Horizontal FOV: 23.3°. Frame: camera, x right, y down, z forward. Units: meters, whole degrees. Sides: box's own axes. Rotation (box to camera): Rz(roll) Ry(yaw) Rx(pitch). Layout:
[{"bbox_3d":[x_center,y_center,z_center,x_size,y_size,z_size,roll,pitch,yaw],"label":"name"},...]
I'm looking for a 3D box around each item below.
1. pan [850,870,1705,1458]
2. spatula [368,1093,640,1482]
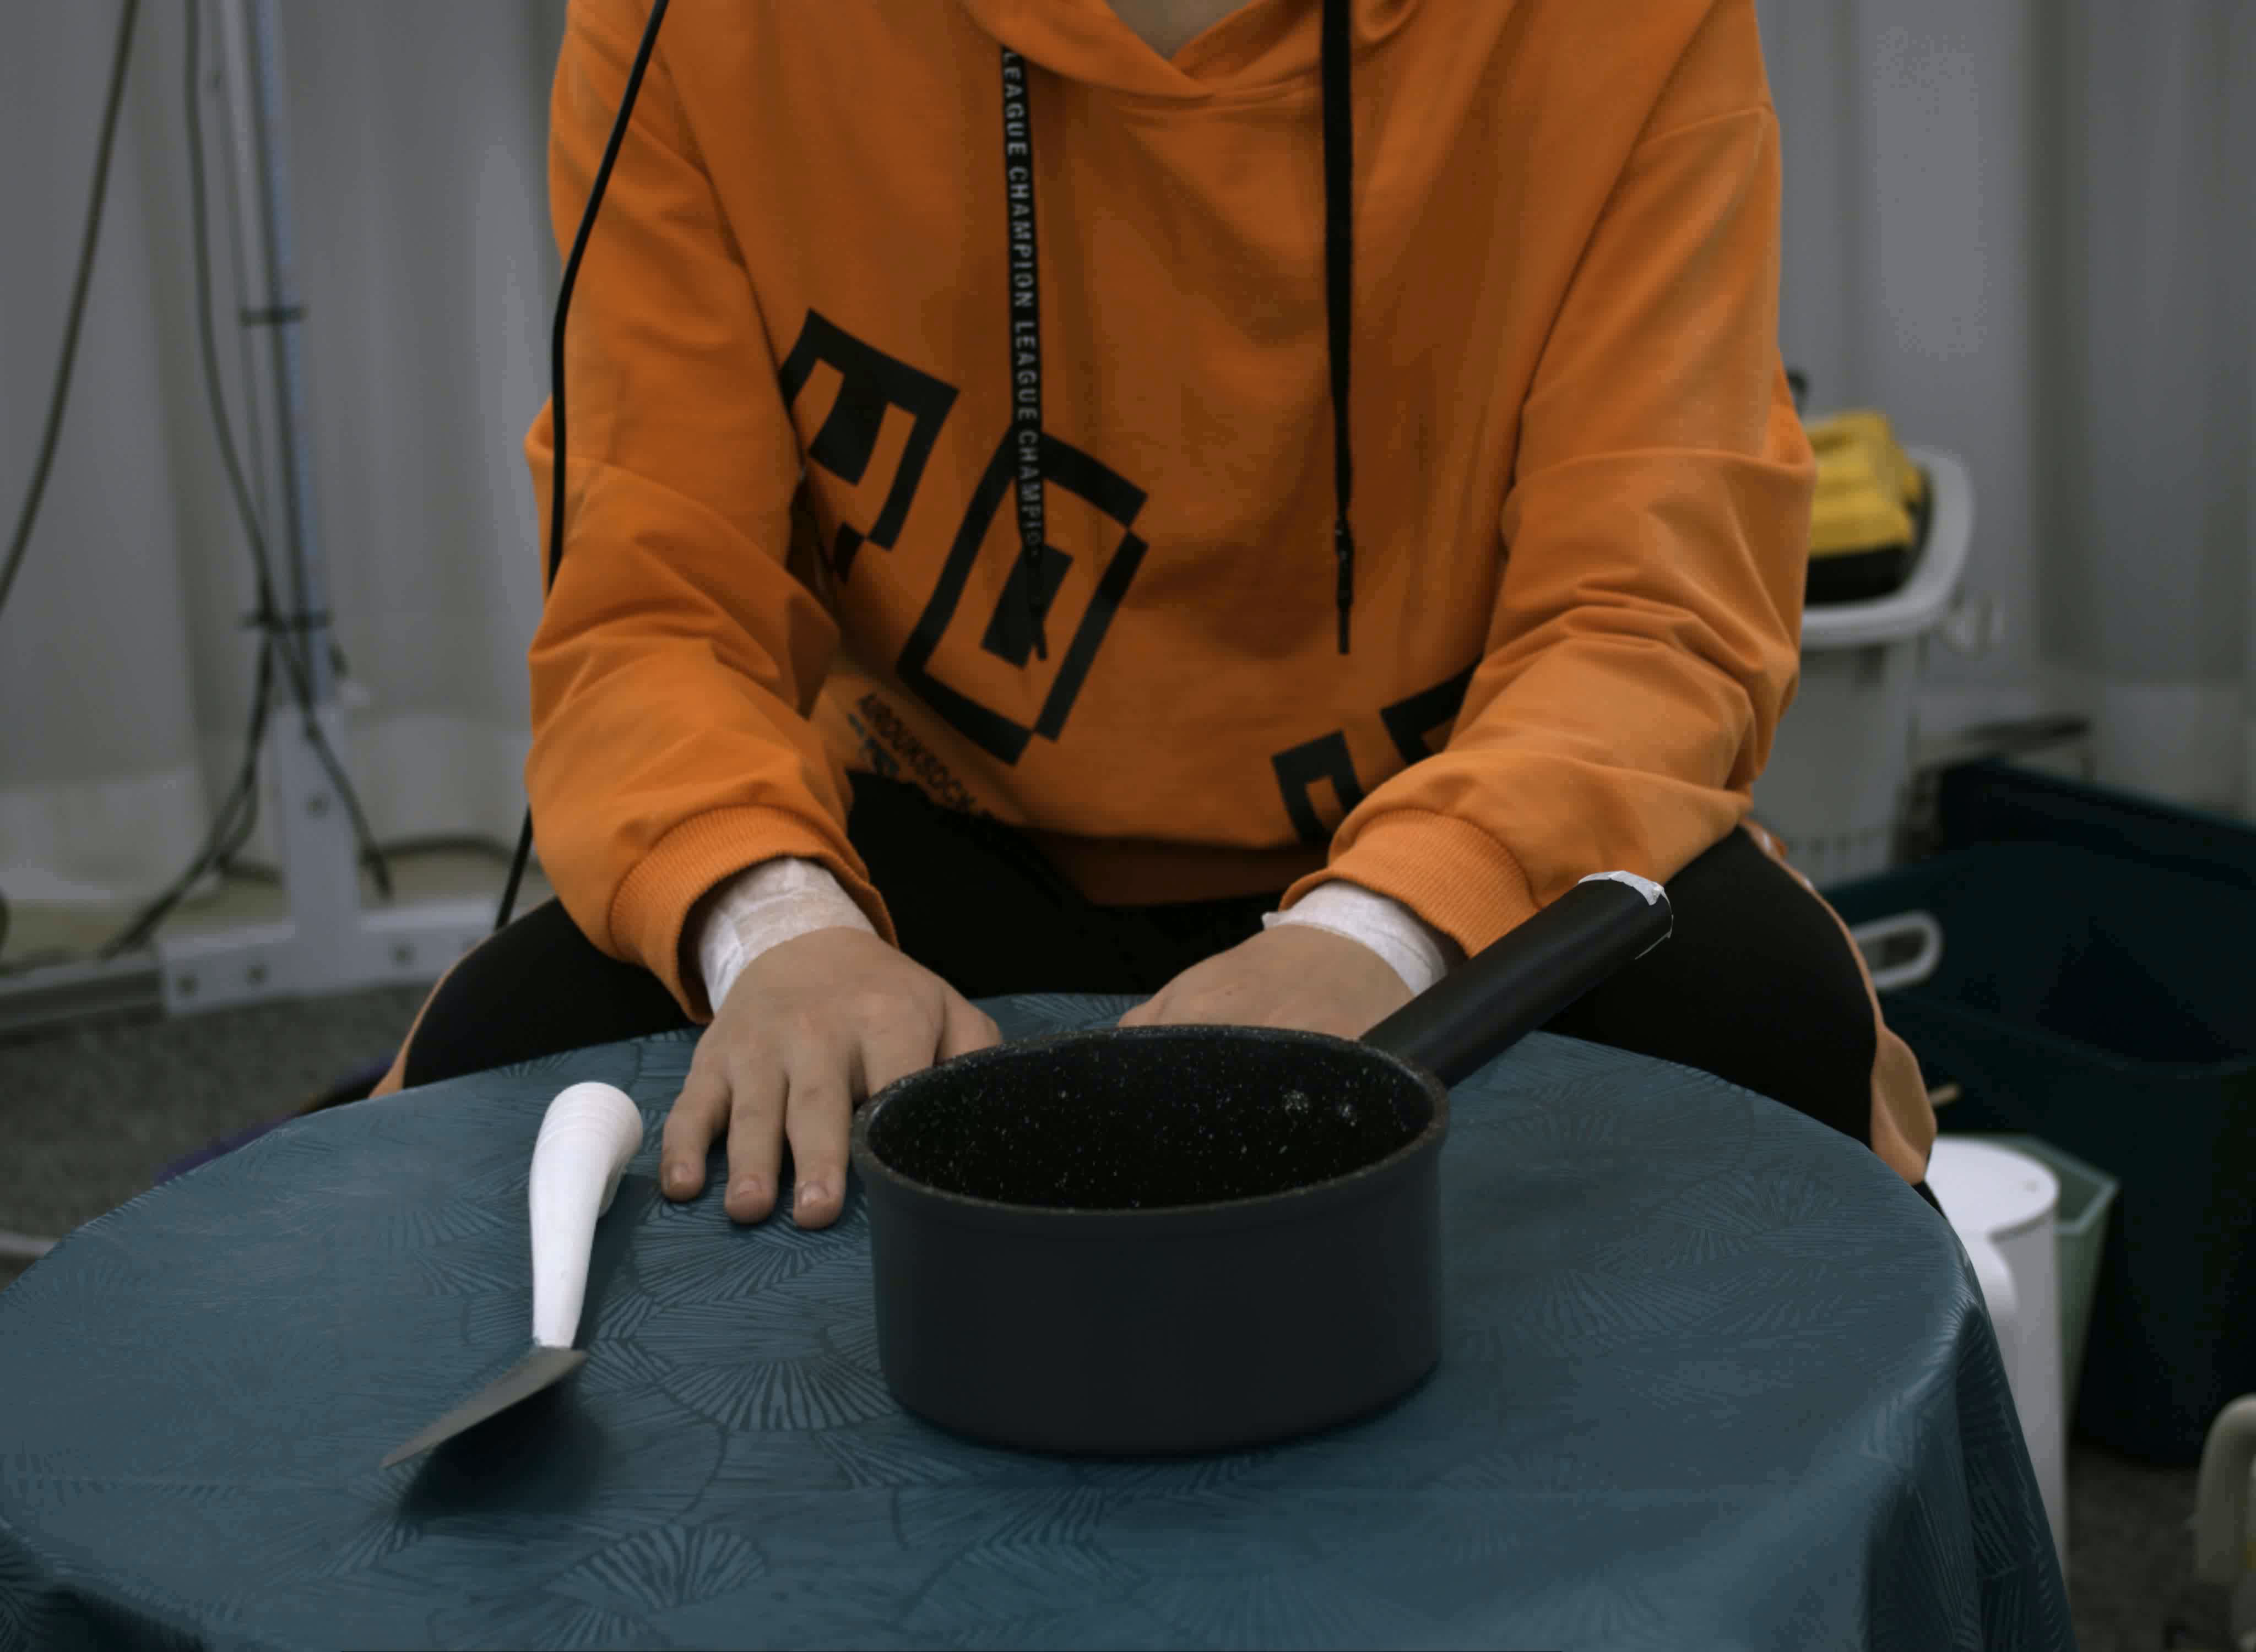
[{"bbox_3d":[0.061,0.095,1.613,0.173,0.086,0.328,11,22,41],"label":"pan"},{"bbox_3d":[-0.174,0.136,1.610,0.058,0.032,0.289,-25,13,7],"label":"spatula"}]
